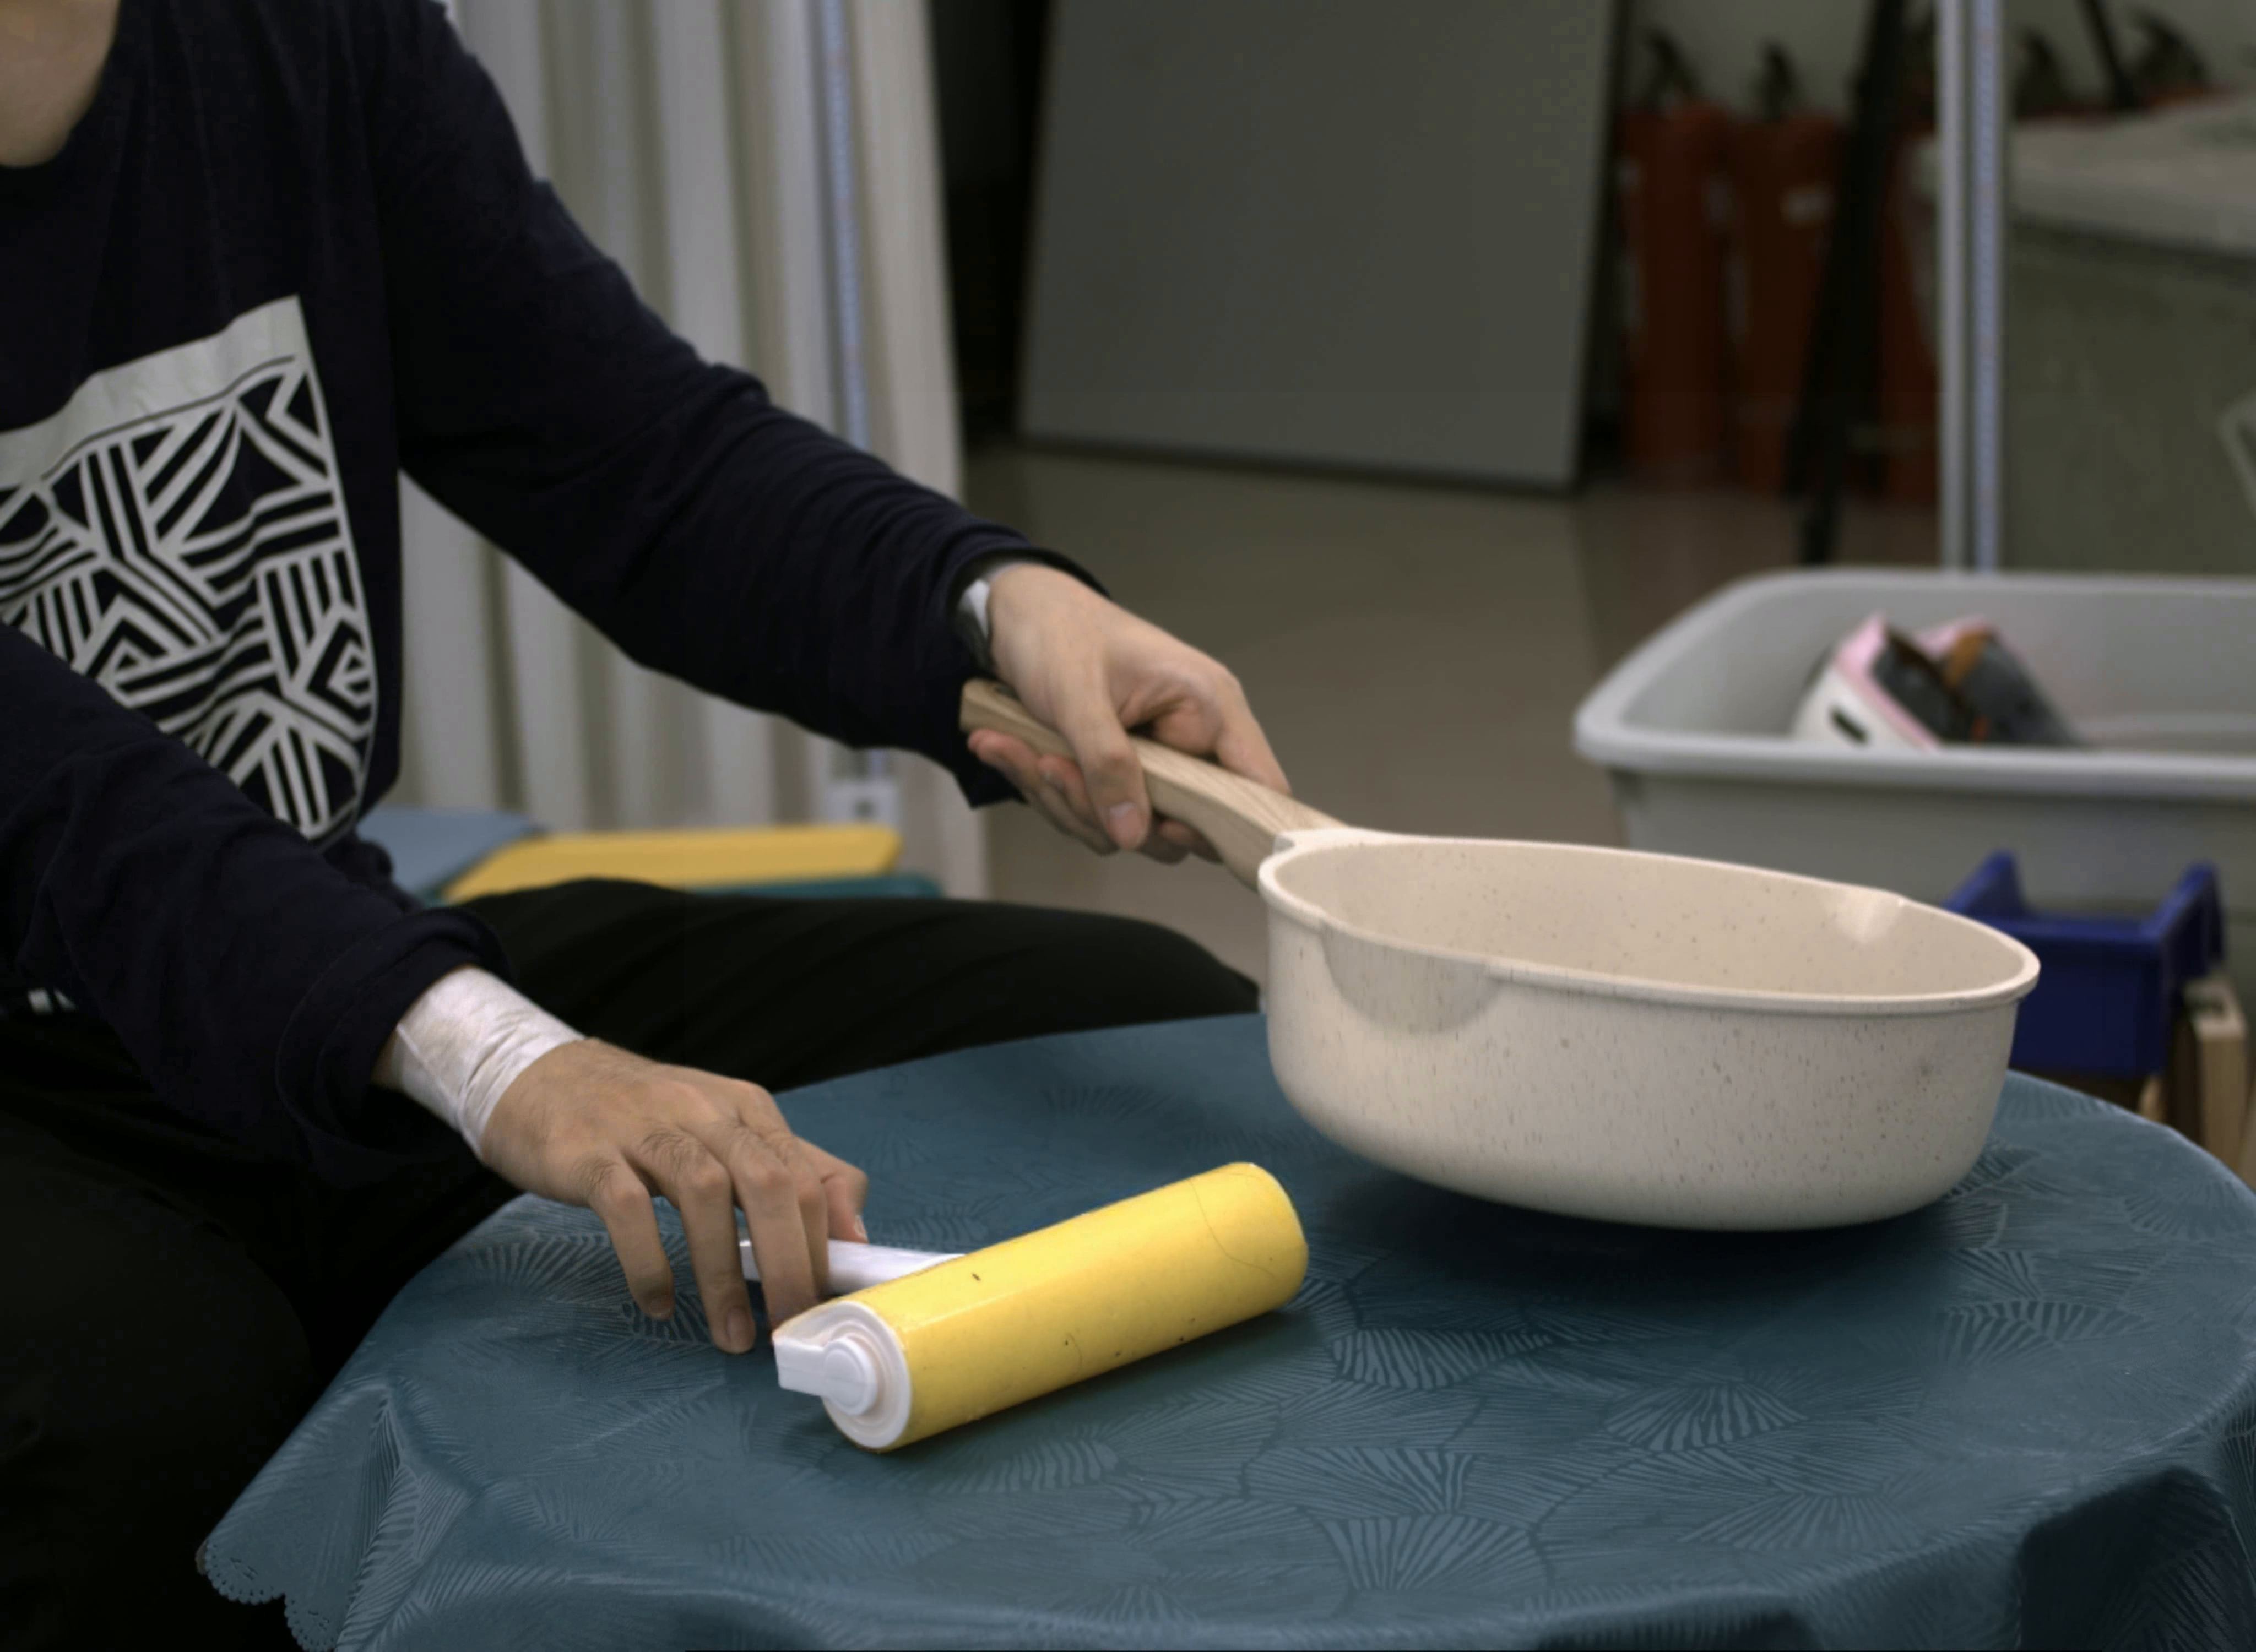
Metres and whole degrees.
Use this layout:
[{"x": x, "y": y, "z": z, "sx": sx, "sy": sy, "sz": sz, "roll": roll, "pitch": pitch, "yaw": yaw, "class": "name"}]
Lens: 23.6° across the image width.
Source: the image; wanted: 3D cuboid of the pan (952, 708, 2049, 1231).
[{"x": 0.099, "y": 0.044, "z": 1.777, "sx": 0.439, "sy": 0.103, "sz": 0.258, "roll": 13, "pitch": 15, "yaw": 43, "class": "pan"}]

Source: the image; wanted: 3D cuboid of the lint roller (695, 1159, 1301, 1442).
[{"x": -0.069, "y": 0.133, "z": 1.647, "sx": 0.170, "sy": 0.052, "sz": 0.194, "roll": -15, "pitch": 16, "yaw": -40, "class": "lint roller"}]
